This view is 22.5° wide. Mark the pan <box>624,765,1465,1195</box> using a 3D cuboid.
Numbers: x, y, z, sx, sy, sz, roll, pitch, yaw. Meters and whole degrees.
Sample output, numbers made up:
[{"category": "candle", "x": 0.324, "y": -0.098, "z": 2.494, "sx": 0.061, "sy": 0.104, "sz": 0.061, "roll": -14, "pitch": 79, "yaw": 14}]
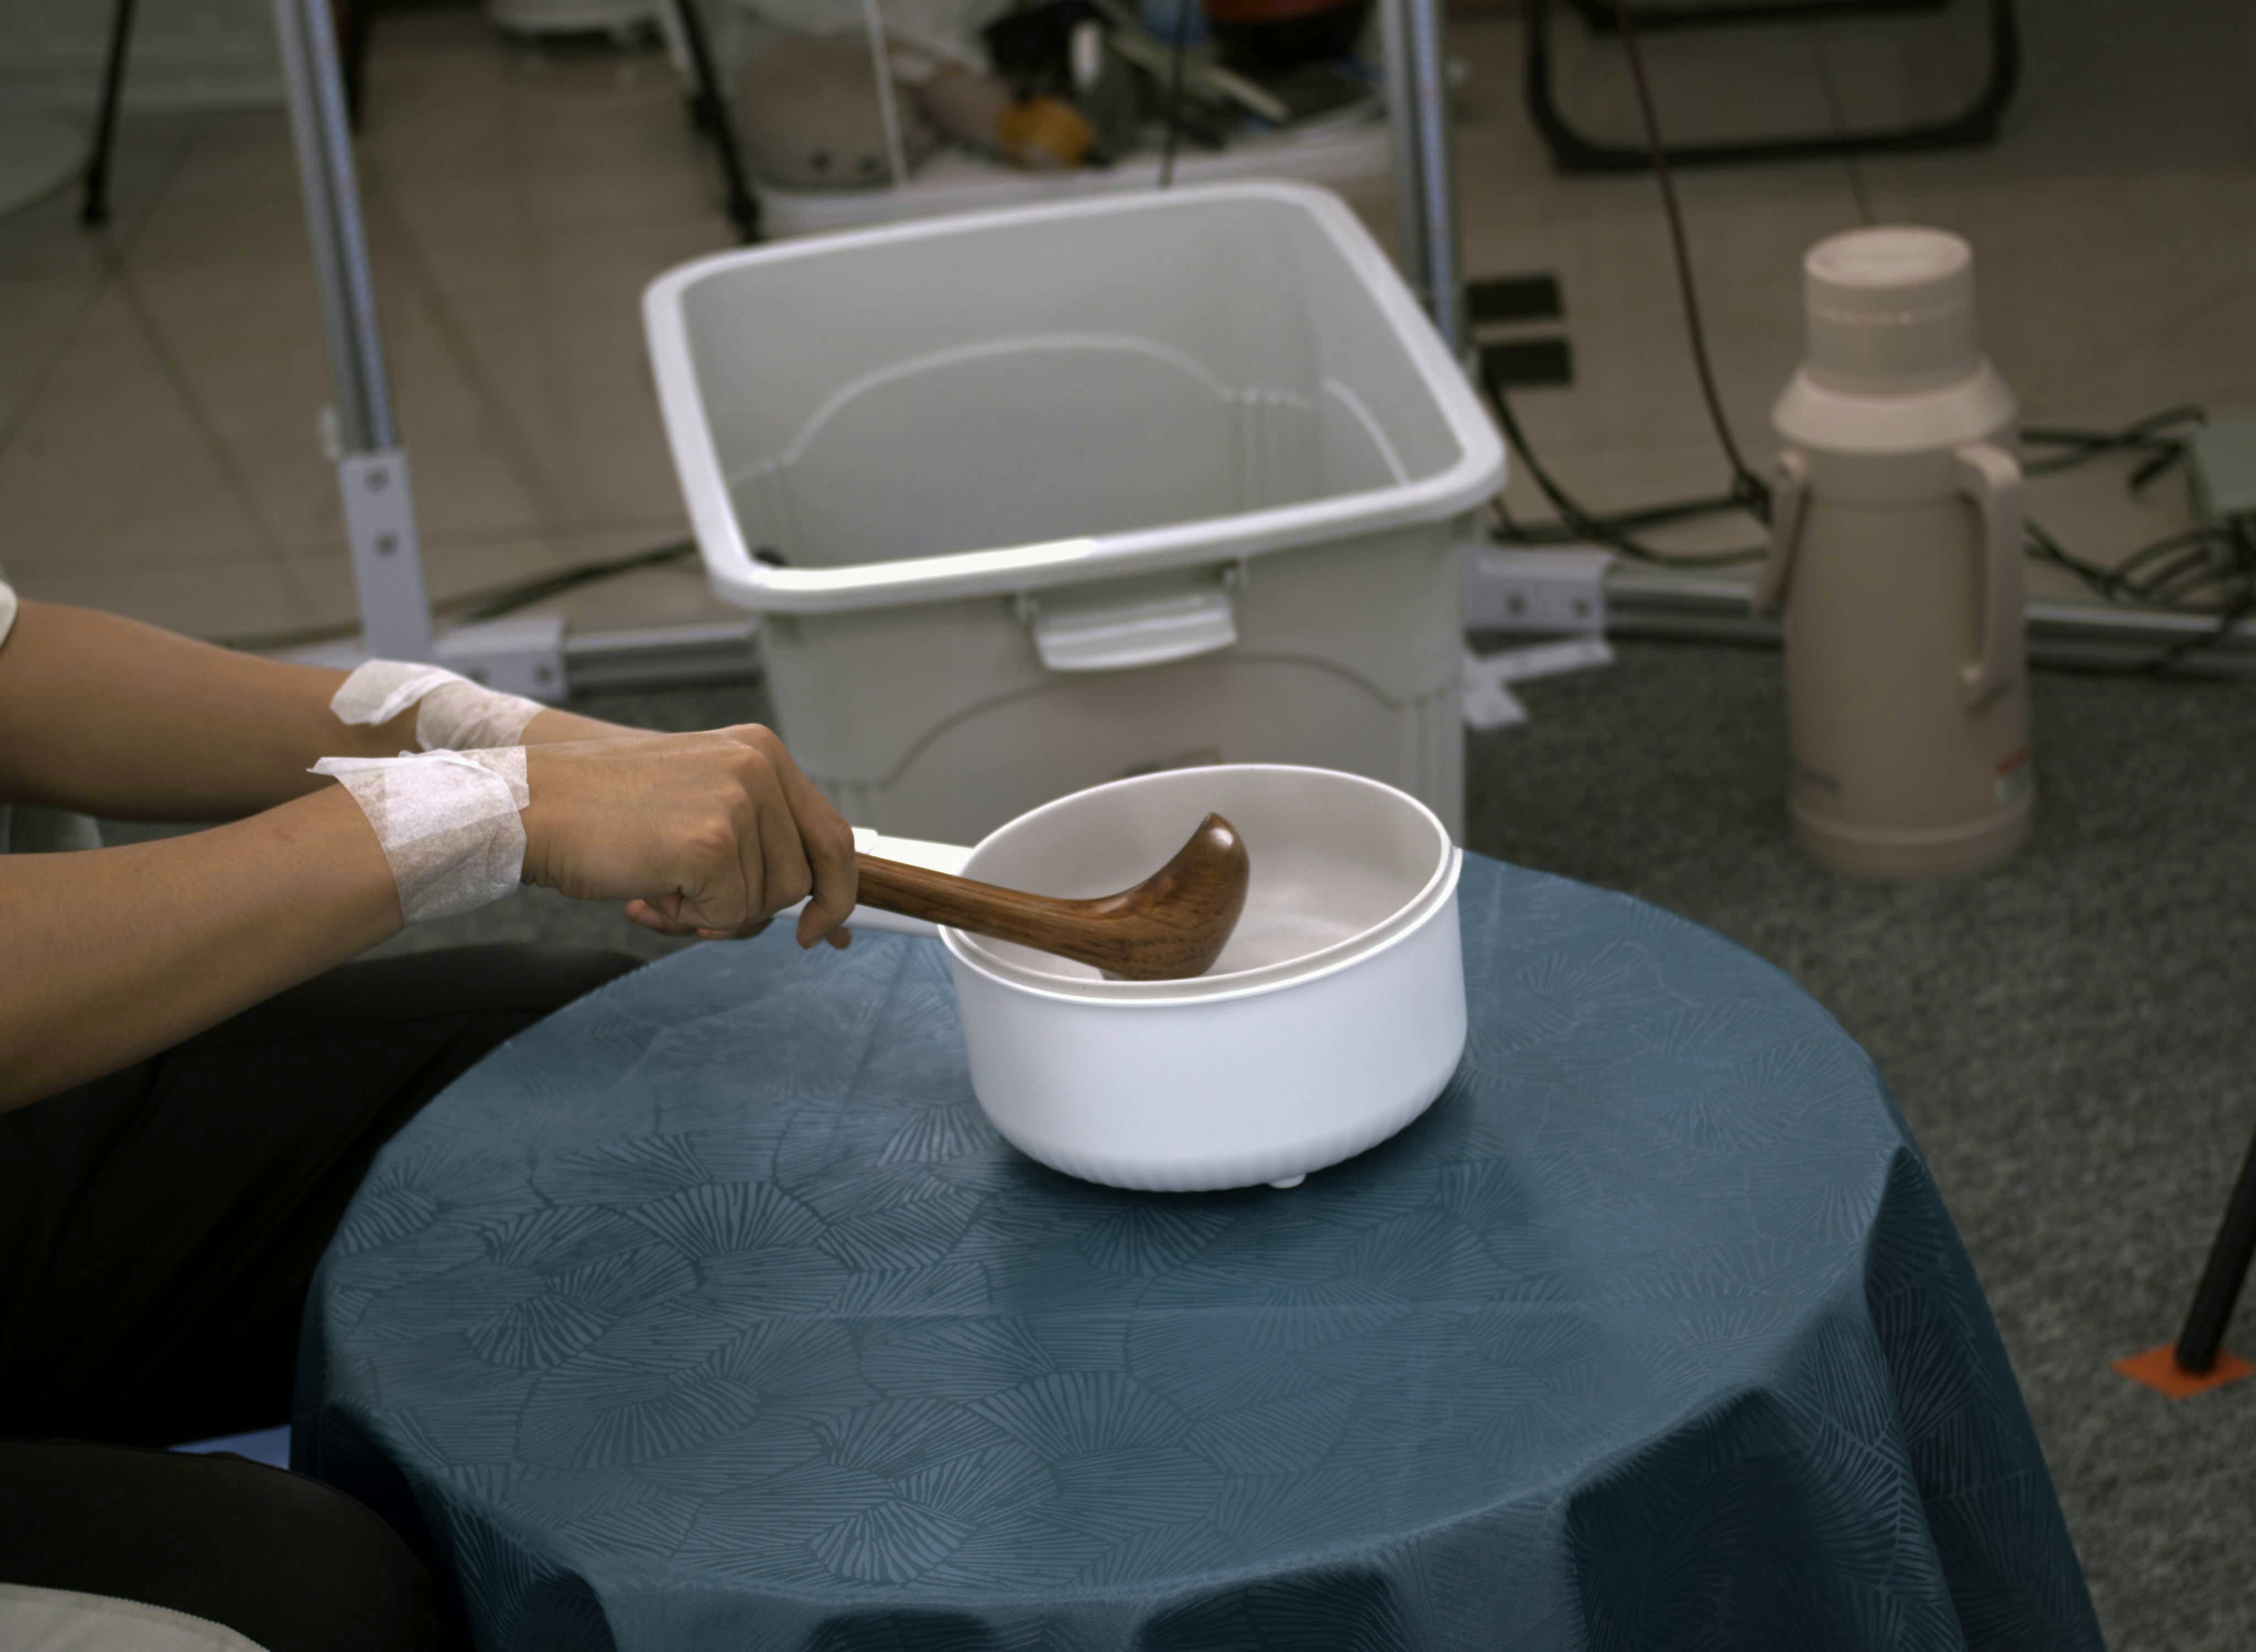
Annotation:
[{"category": "pan", "x": -0.036, "y": 0.057, "z": 2.221, "sx": 0.353, "sy": 0.104, "sz": 0.198, "roll": 5, "pitch": 29, "yaw": 28}]

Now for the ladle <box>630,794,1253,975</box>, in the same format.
[{"category": "ladle", "x": -0.070, "y": 0.015, "z": 2.127, "sx": 0.274, "sy": 0.083, "sz": 0.075, "roll": 8, "pitch": 22, "yaw": -29}]
